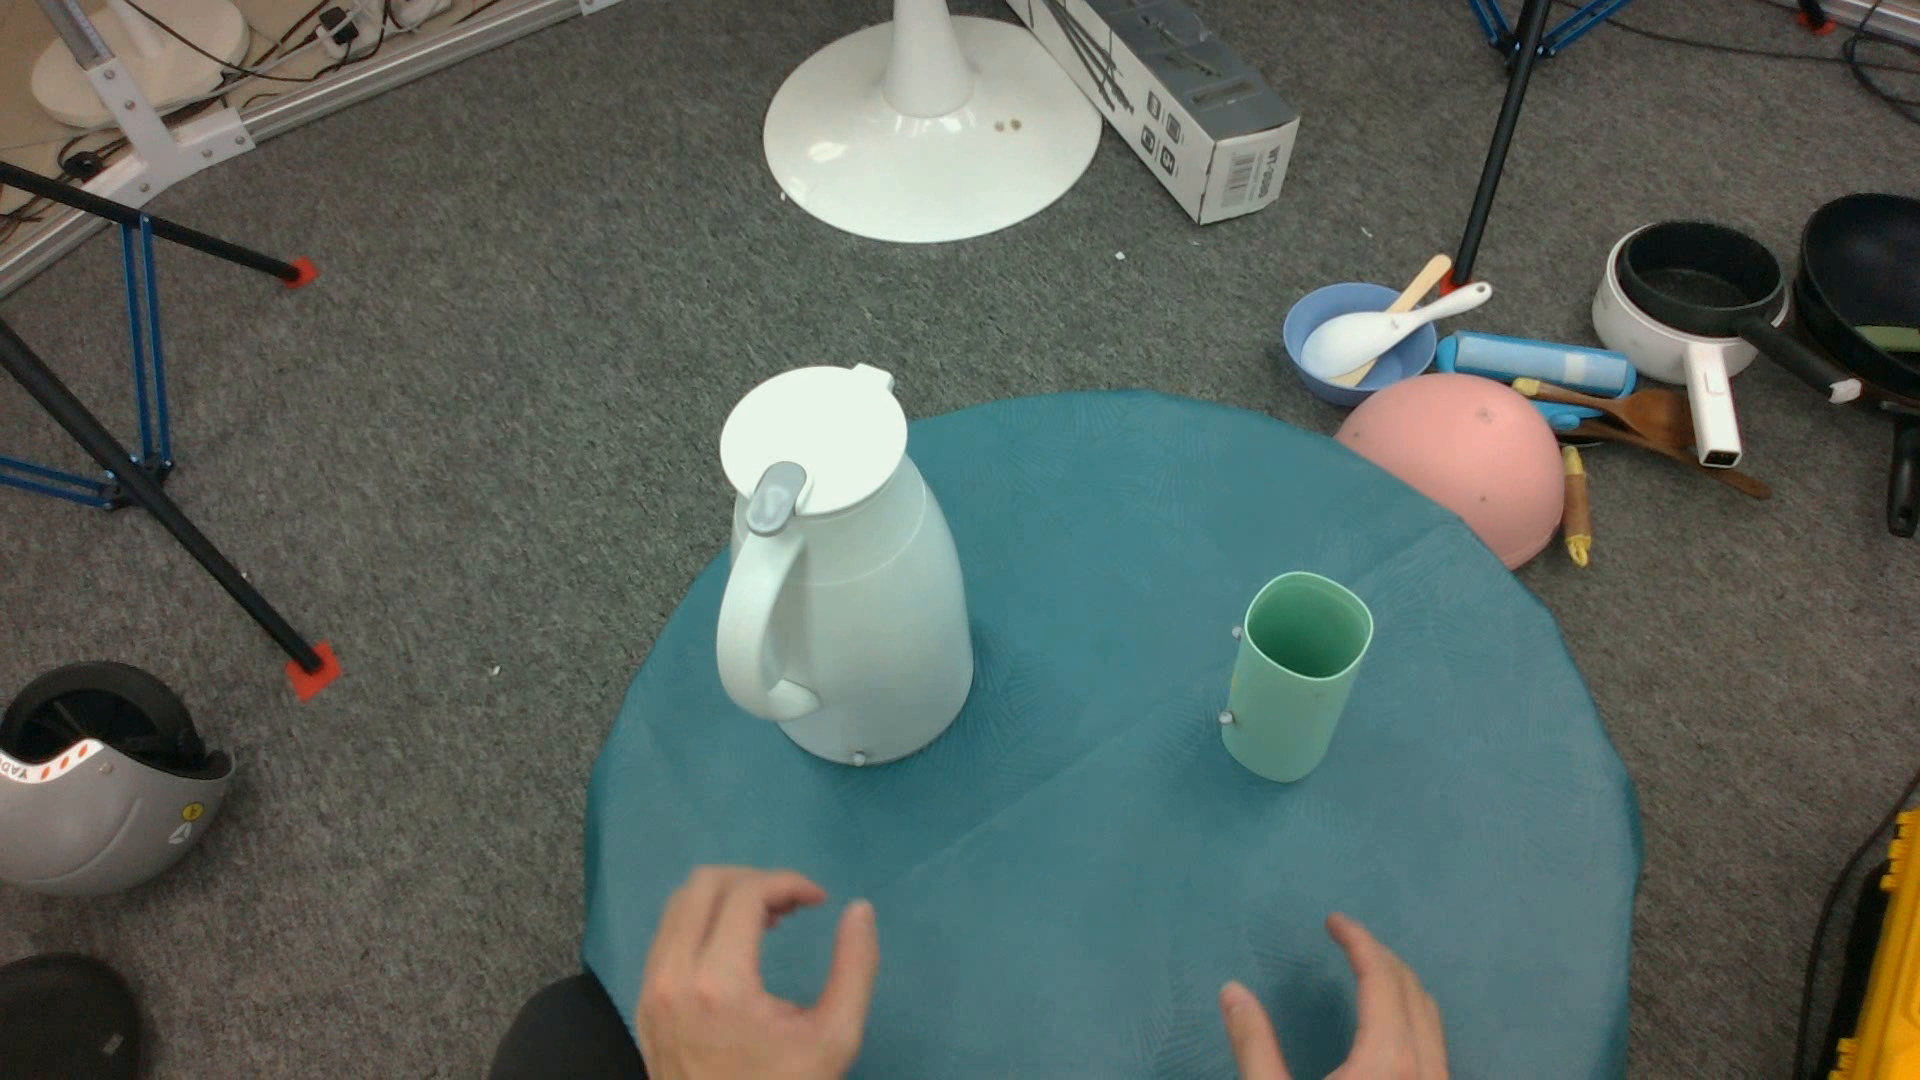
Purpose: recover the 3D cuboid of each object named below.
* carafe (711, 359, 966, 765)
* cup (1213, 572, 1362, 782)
[{"bbox_3d":[-0.075,0.028,0.752,0.132,0.247,0.168,19,60,15],"label":"carafe"},{"bbox_3d":[0.183,0.081,0.777,0.067,0.132,0.067,-2,56,3],"label":"cup"}]
